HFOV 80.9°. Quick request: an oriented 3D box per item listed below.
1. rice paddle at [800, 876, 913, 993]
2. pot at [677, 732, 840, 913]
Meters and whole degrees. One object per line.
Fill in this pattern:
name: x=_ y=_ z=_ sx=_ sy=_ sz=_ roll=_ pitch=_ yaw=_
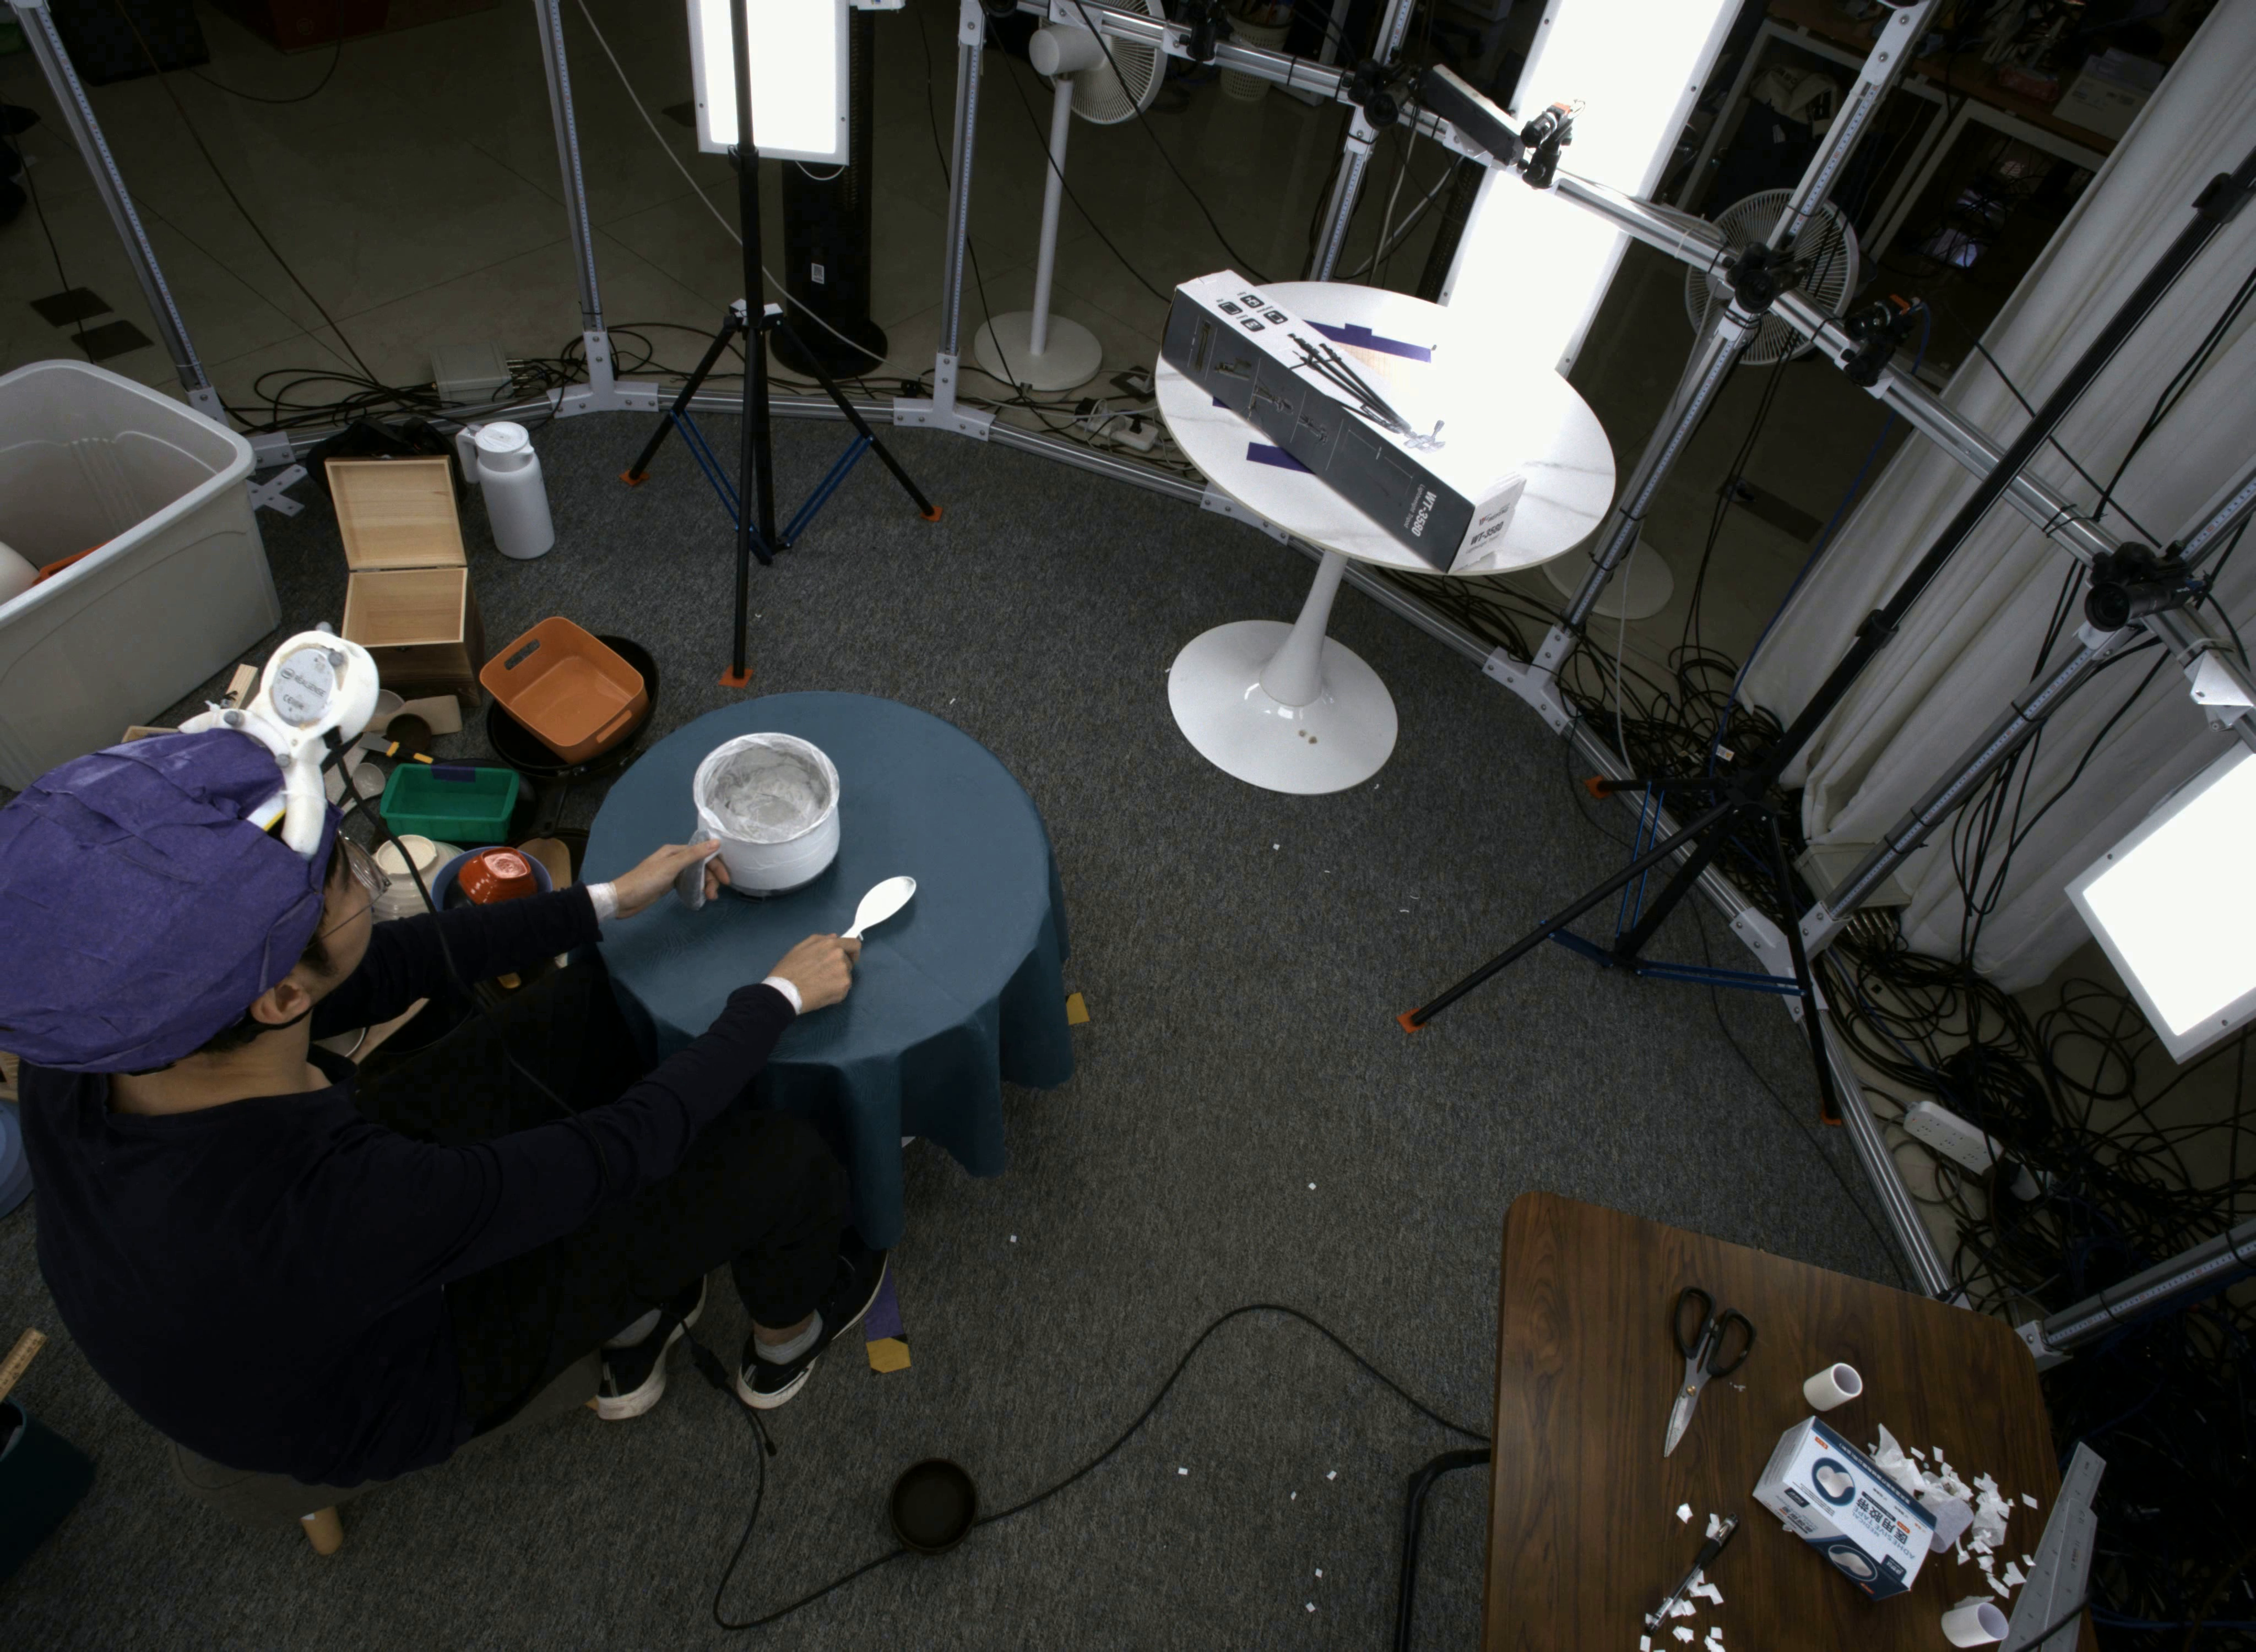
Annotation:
rice paddle: x=-0.340 y=0.126 z=1.637 sx=0.066 sy=0.030 sz=0.204 roll=7 pitch=42 yaw=32
pot: x=-0.475 y=0.006 z=1.634 sx=0.175 sy=0.140 sz=0.233 roll=34 pitch=55 yaw=15
